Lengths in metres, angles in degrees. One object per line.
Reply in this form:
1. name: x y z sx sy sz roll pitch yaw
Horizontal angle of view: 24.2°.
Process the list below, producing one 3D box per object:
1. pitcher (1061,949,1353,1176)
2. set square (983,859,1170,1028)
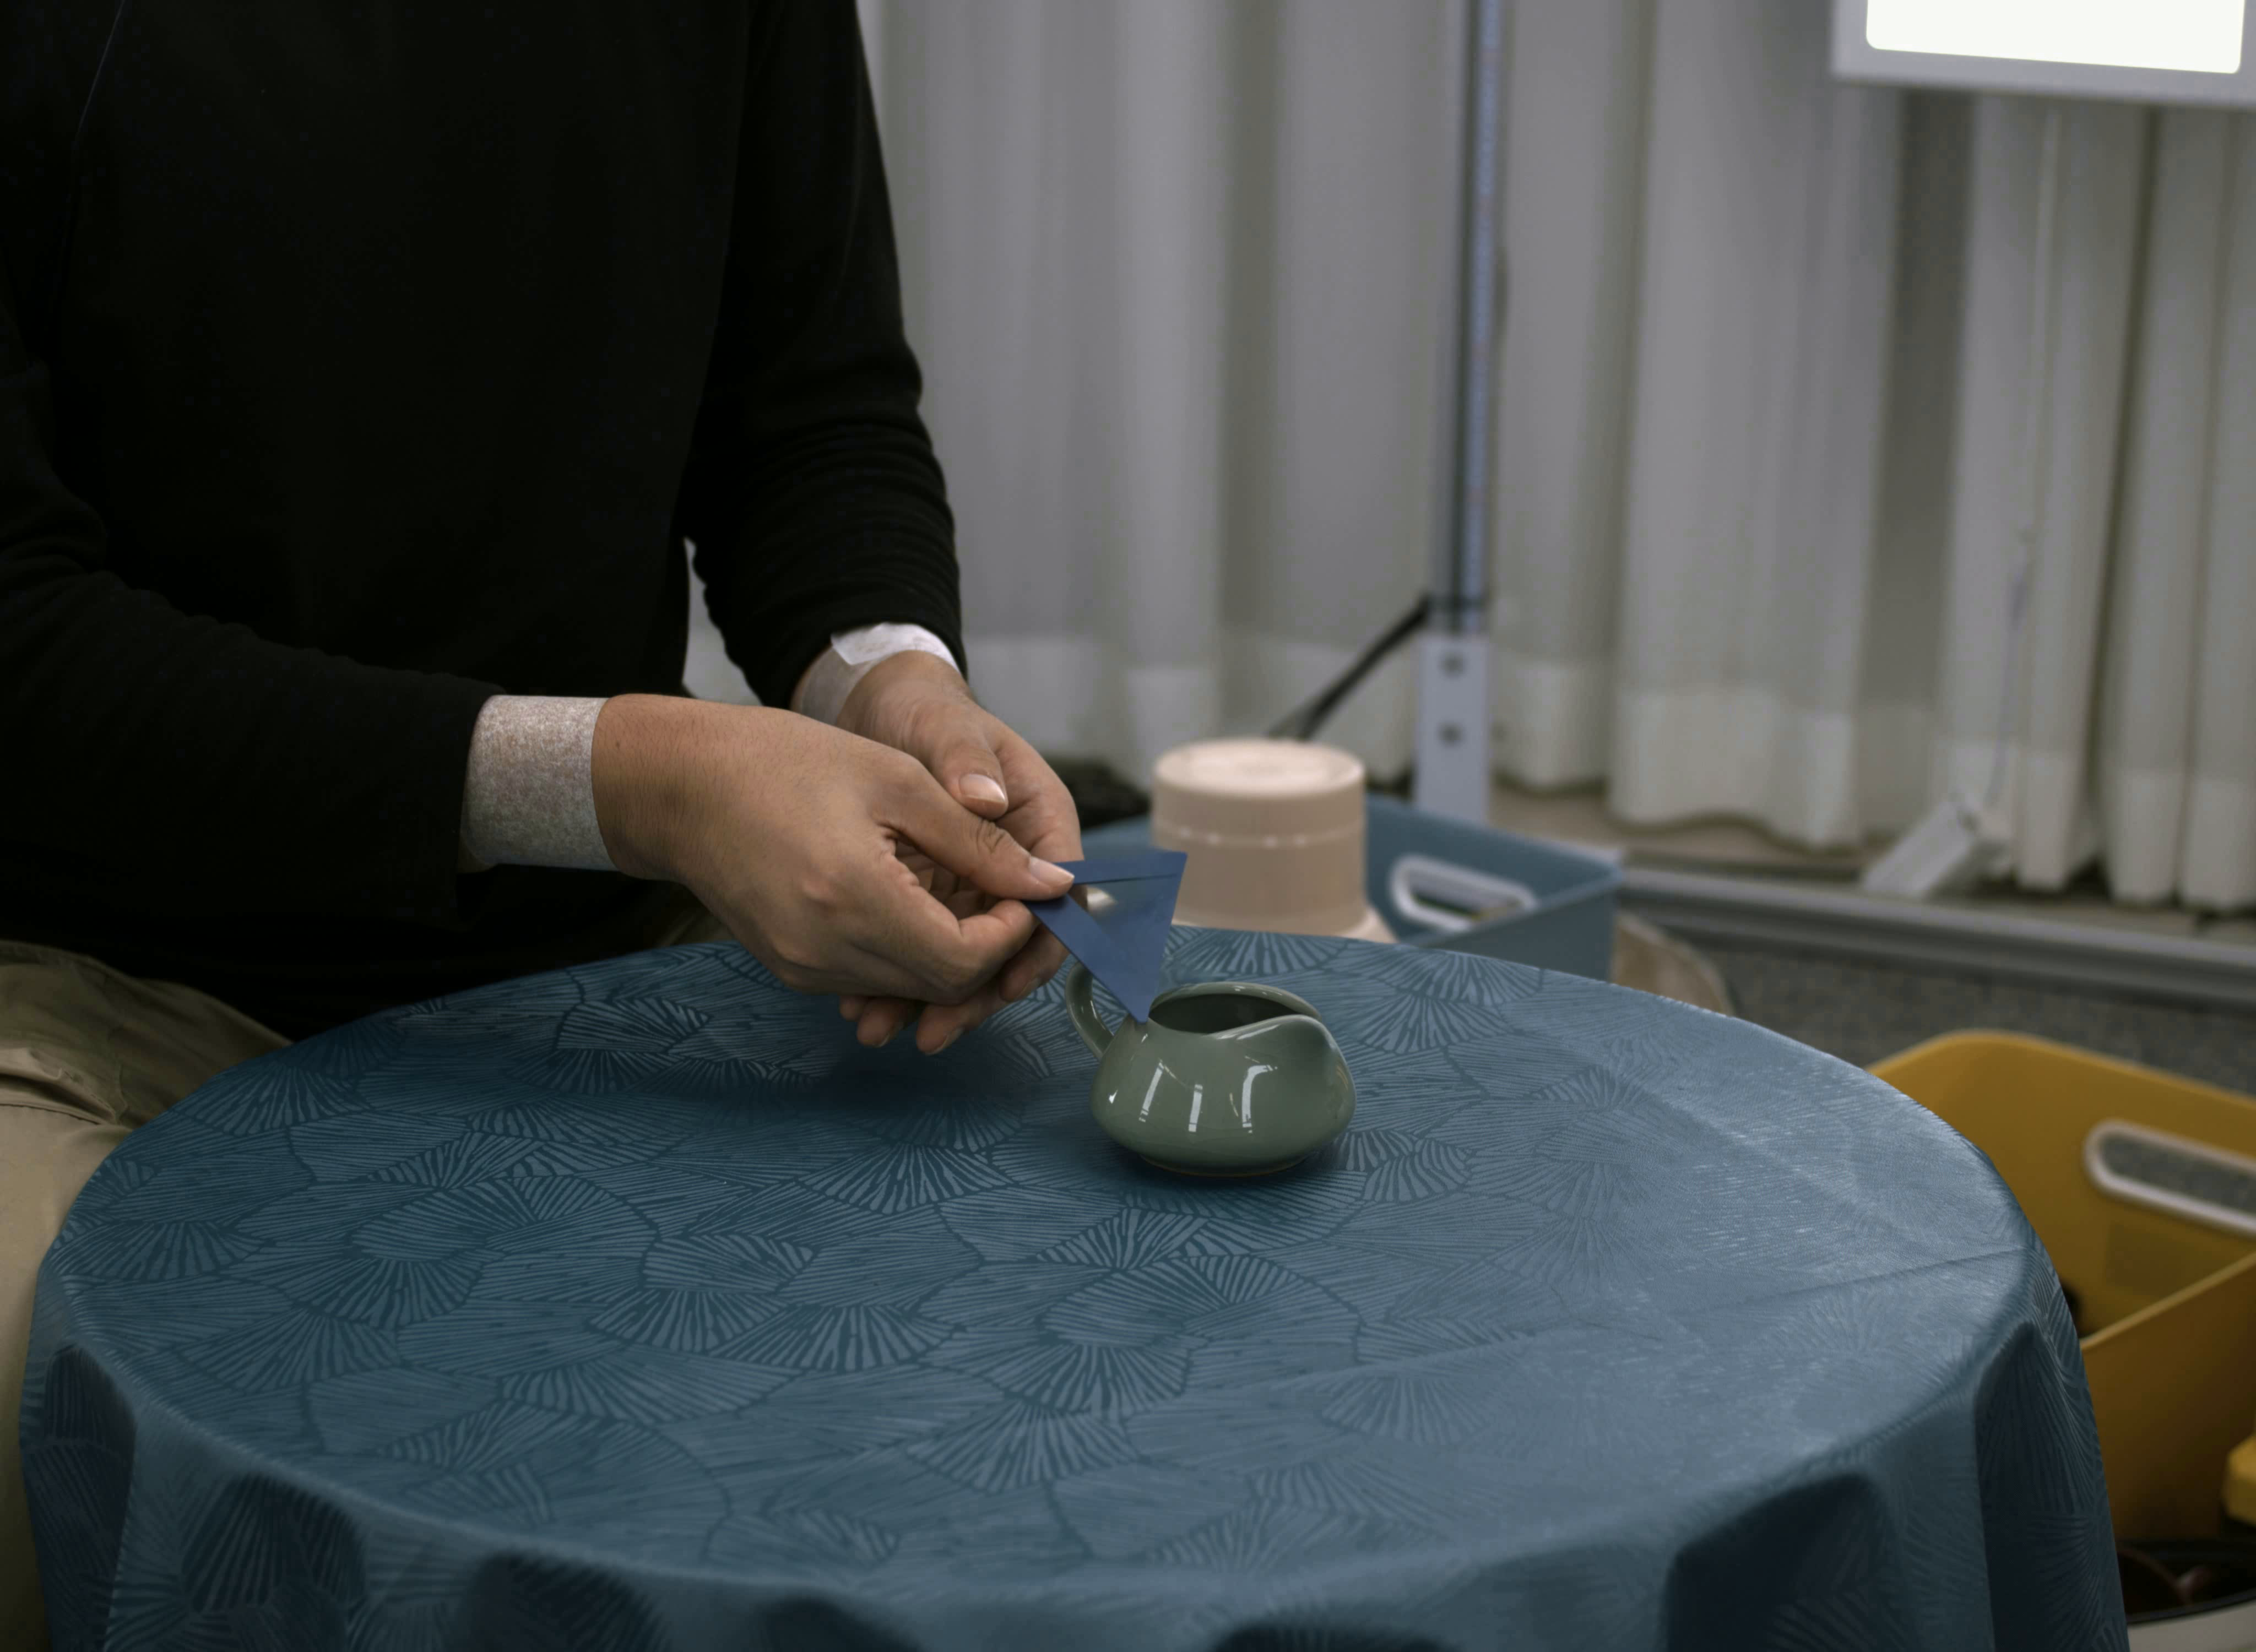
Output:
1. pitcher: 0.024 0.074 1.654 0.111 0.056 0.084 13 18 38
2. set square: -0.023 0.033 1.677 0.061 0.006 0.131 10 23 6
